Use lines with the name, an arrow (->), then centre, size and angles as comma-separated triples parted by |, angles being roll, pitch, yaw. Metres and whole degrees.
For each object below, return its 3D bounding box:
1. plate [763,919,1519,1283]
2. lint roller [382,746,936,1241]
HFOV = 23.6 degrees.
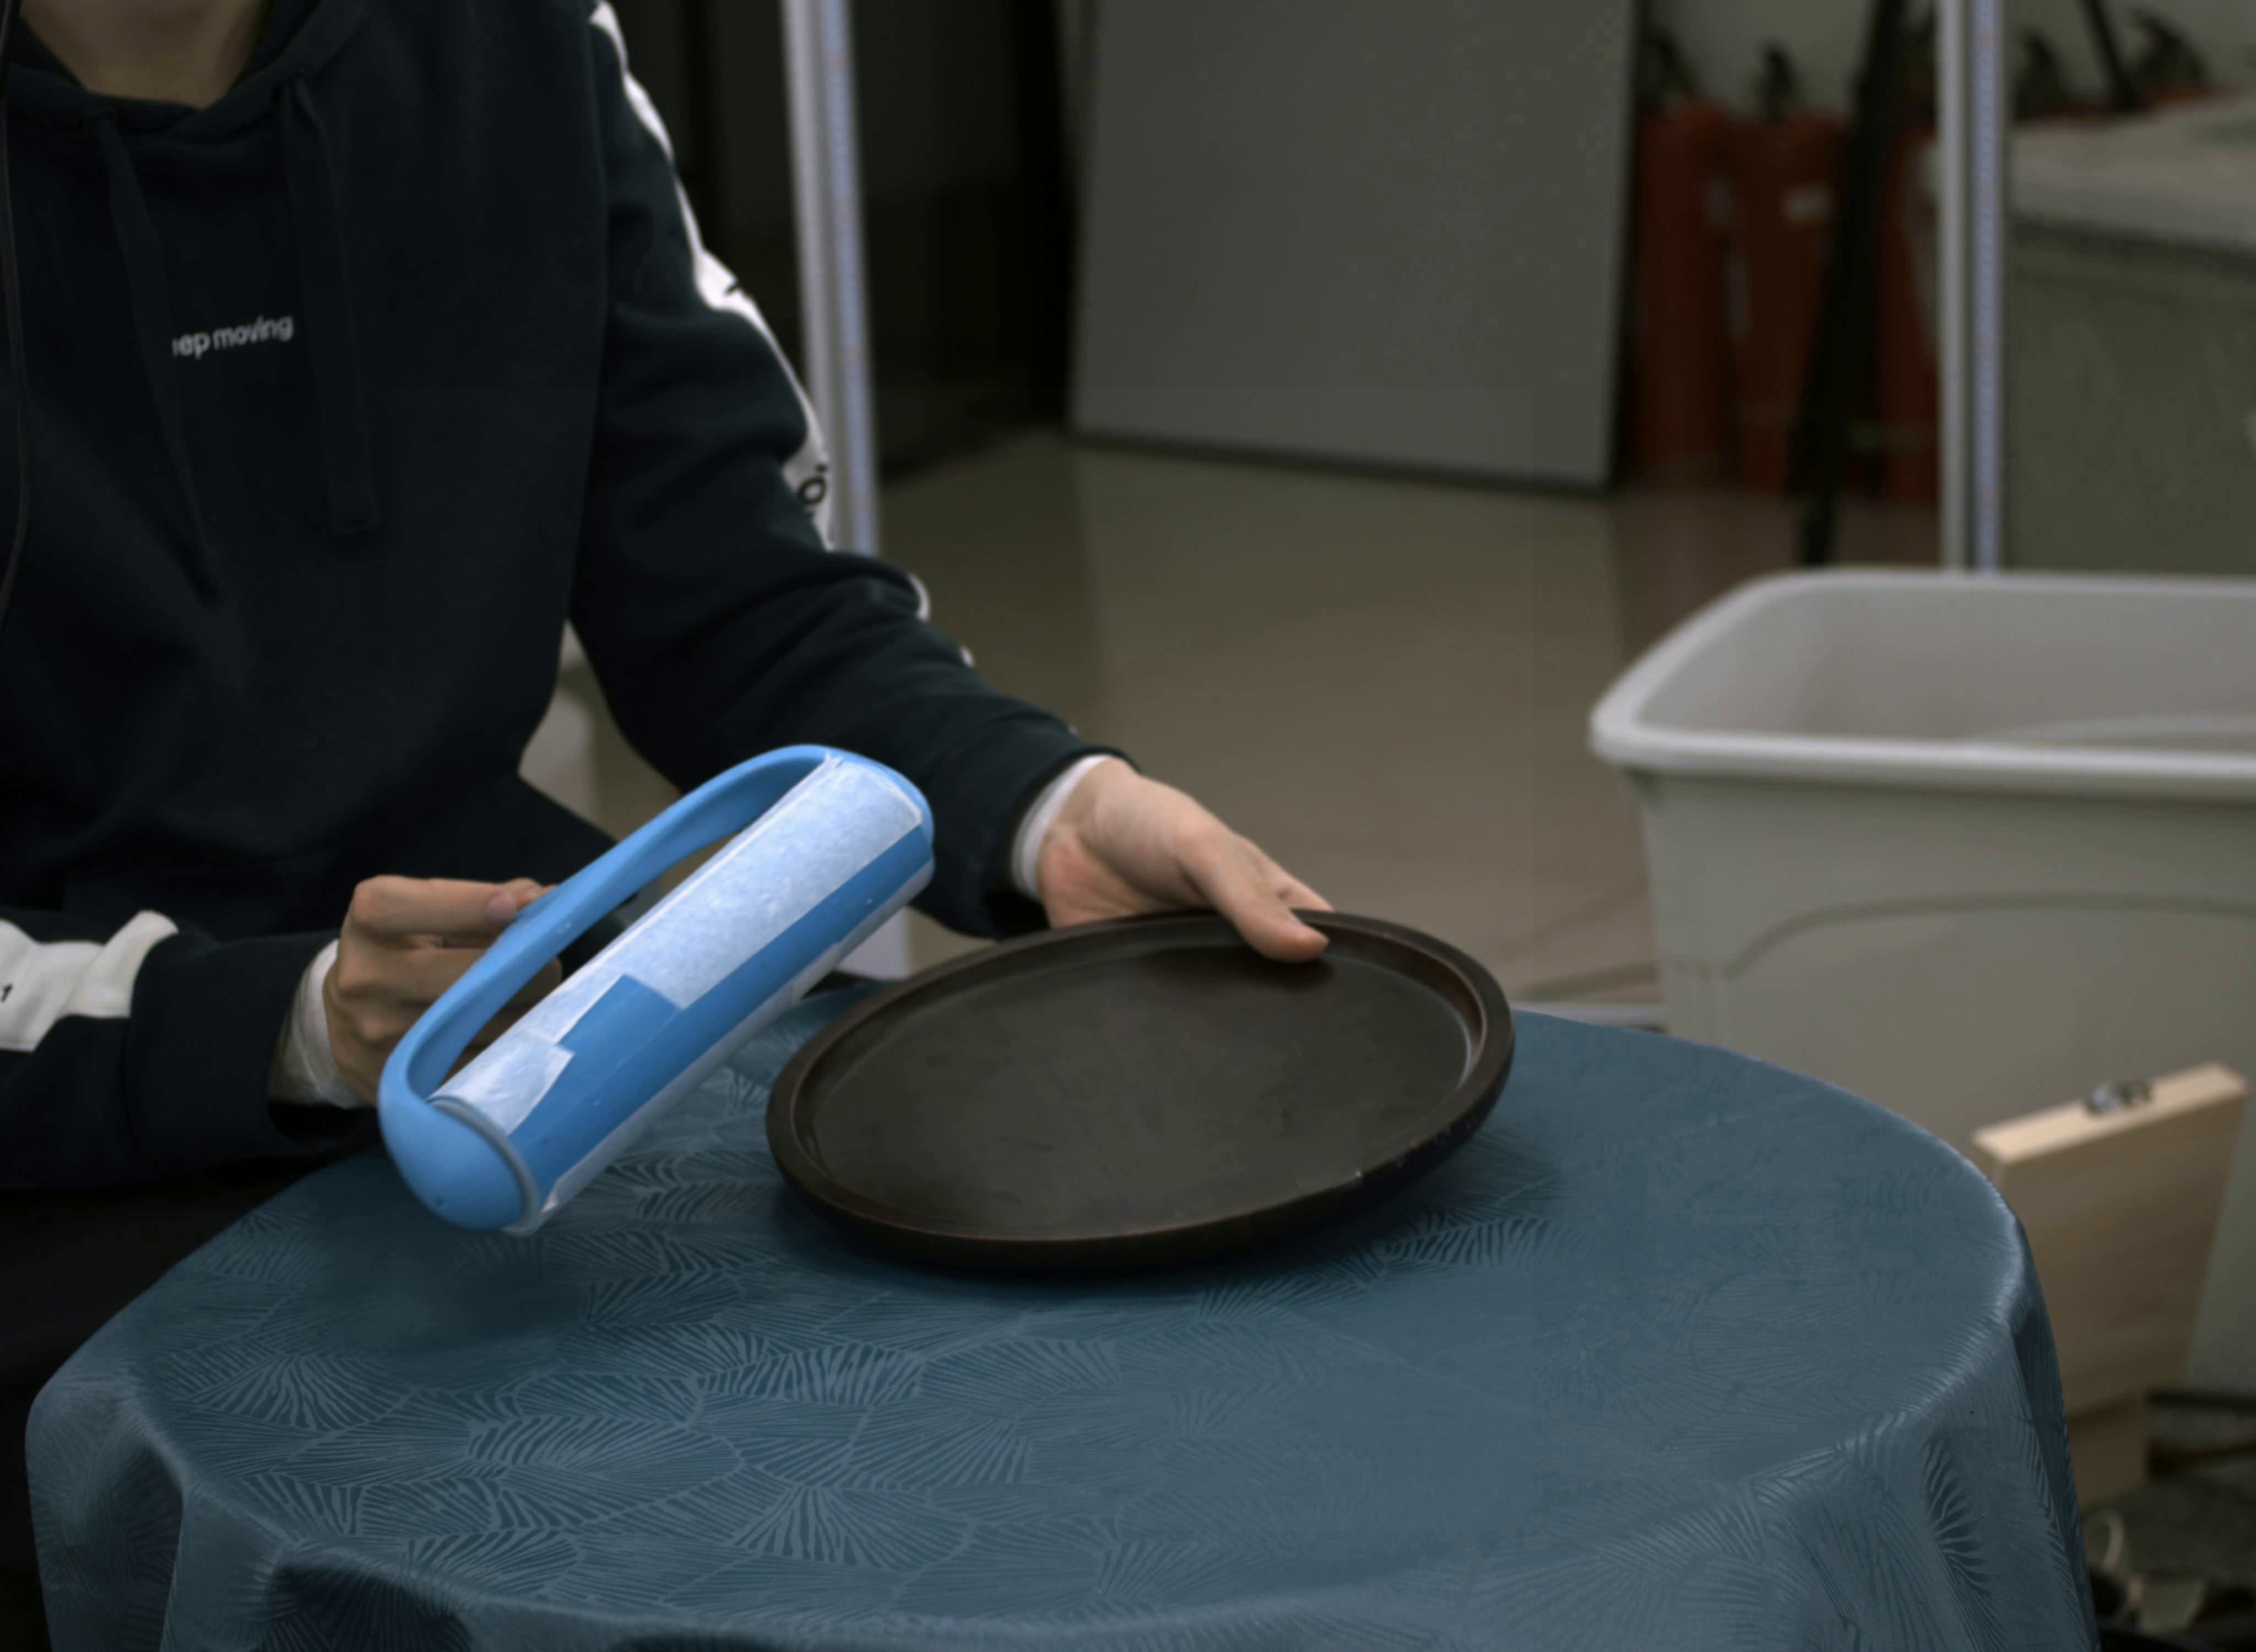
plate -> 0.006, 0.088, 1.782 | 0.252, 0.029, 0.255 | -9, 21, 3
lint roller -> -0.180, 0.058, 1.763 | 0.182, 0.068, 0.226 | -8, 29, 49
